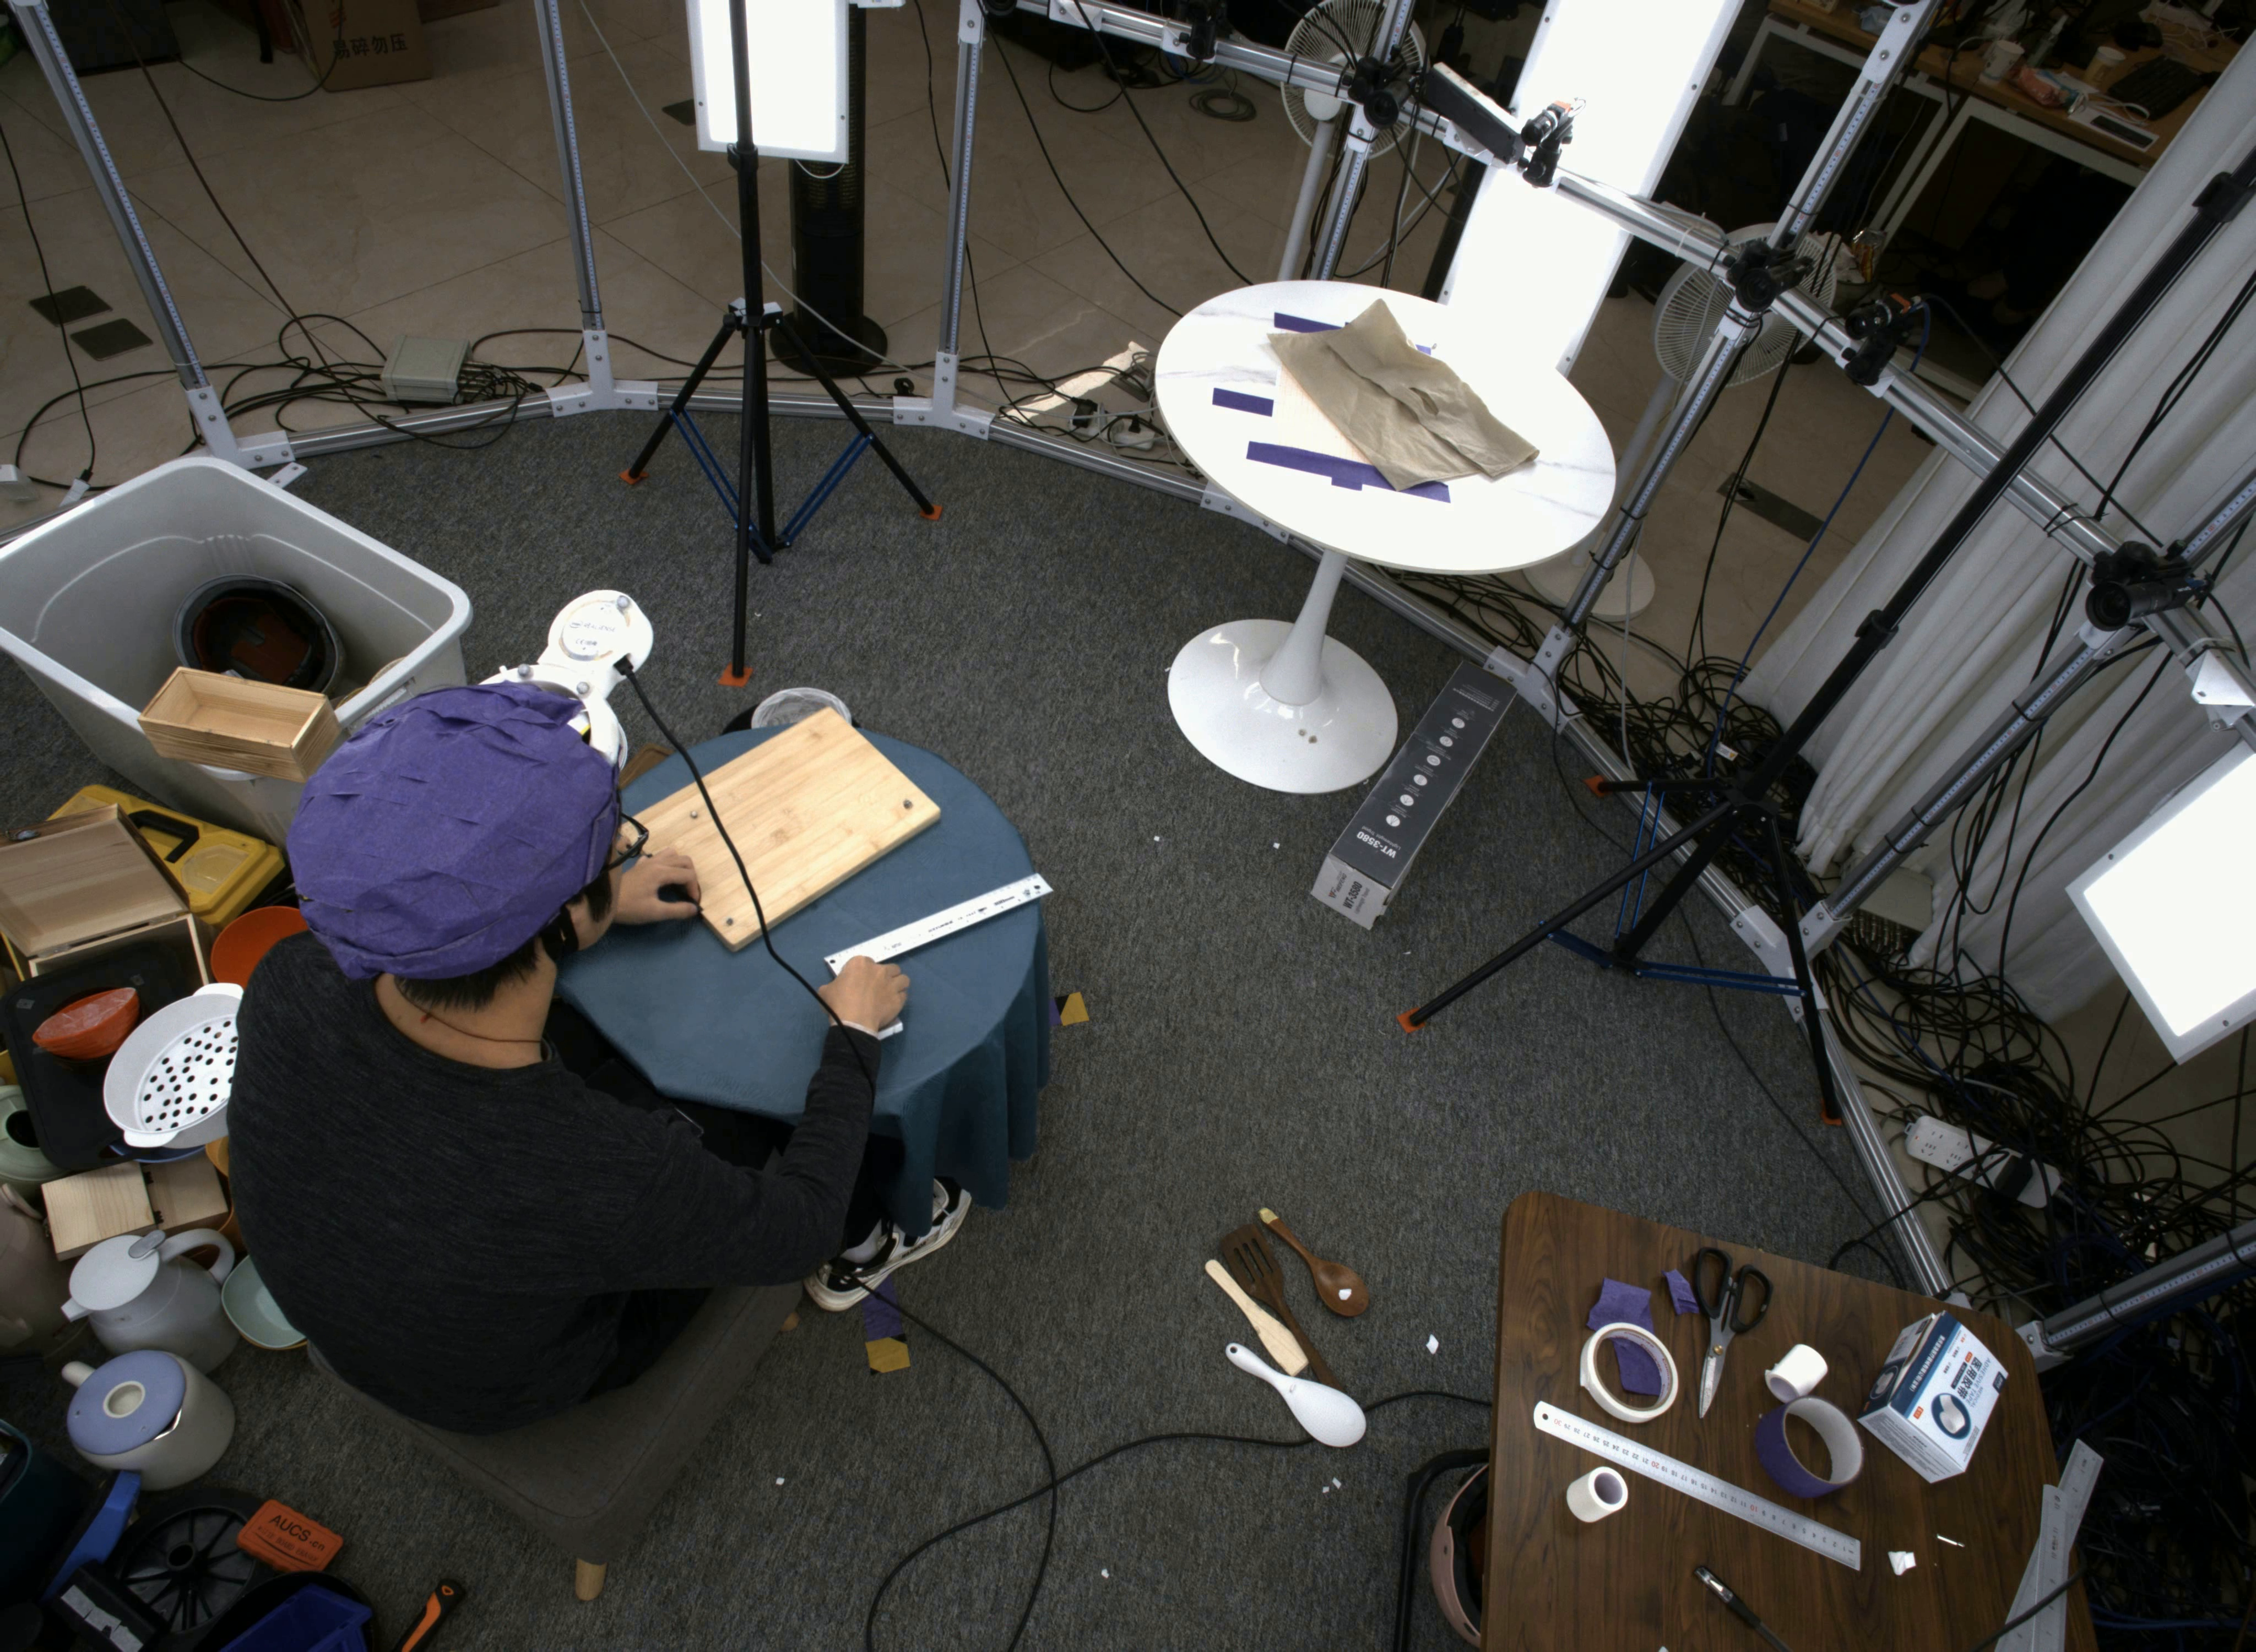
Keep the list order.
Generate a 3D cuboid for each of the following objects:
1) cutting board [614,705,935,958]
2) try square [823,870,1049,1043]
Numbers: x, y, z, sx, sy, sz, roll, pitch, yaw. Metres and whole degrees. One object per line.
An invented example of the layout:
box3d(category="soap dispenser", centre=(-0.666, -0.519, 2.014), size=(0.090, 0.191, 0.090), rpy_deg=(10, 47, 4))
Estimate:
box3d(category="cutting board", centre=(-0.459, -0.005, 1.703), size=(0.245, 0.024, 0.349), rpy_deg=(40, 54, 16))
box3d(category="try square", centre=(-0.211, 0.154, 1.638), size=(0.314, 0.016, 0.147), rpy_deg=(-22, 51, -29))
